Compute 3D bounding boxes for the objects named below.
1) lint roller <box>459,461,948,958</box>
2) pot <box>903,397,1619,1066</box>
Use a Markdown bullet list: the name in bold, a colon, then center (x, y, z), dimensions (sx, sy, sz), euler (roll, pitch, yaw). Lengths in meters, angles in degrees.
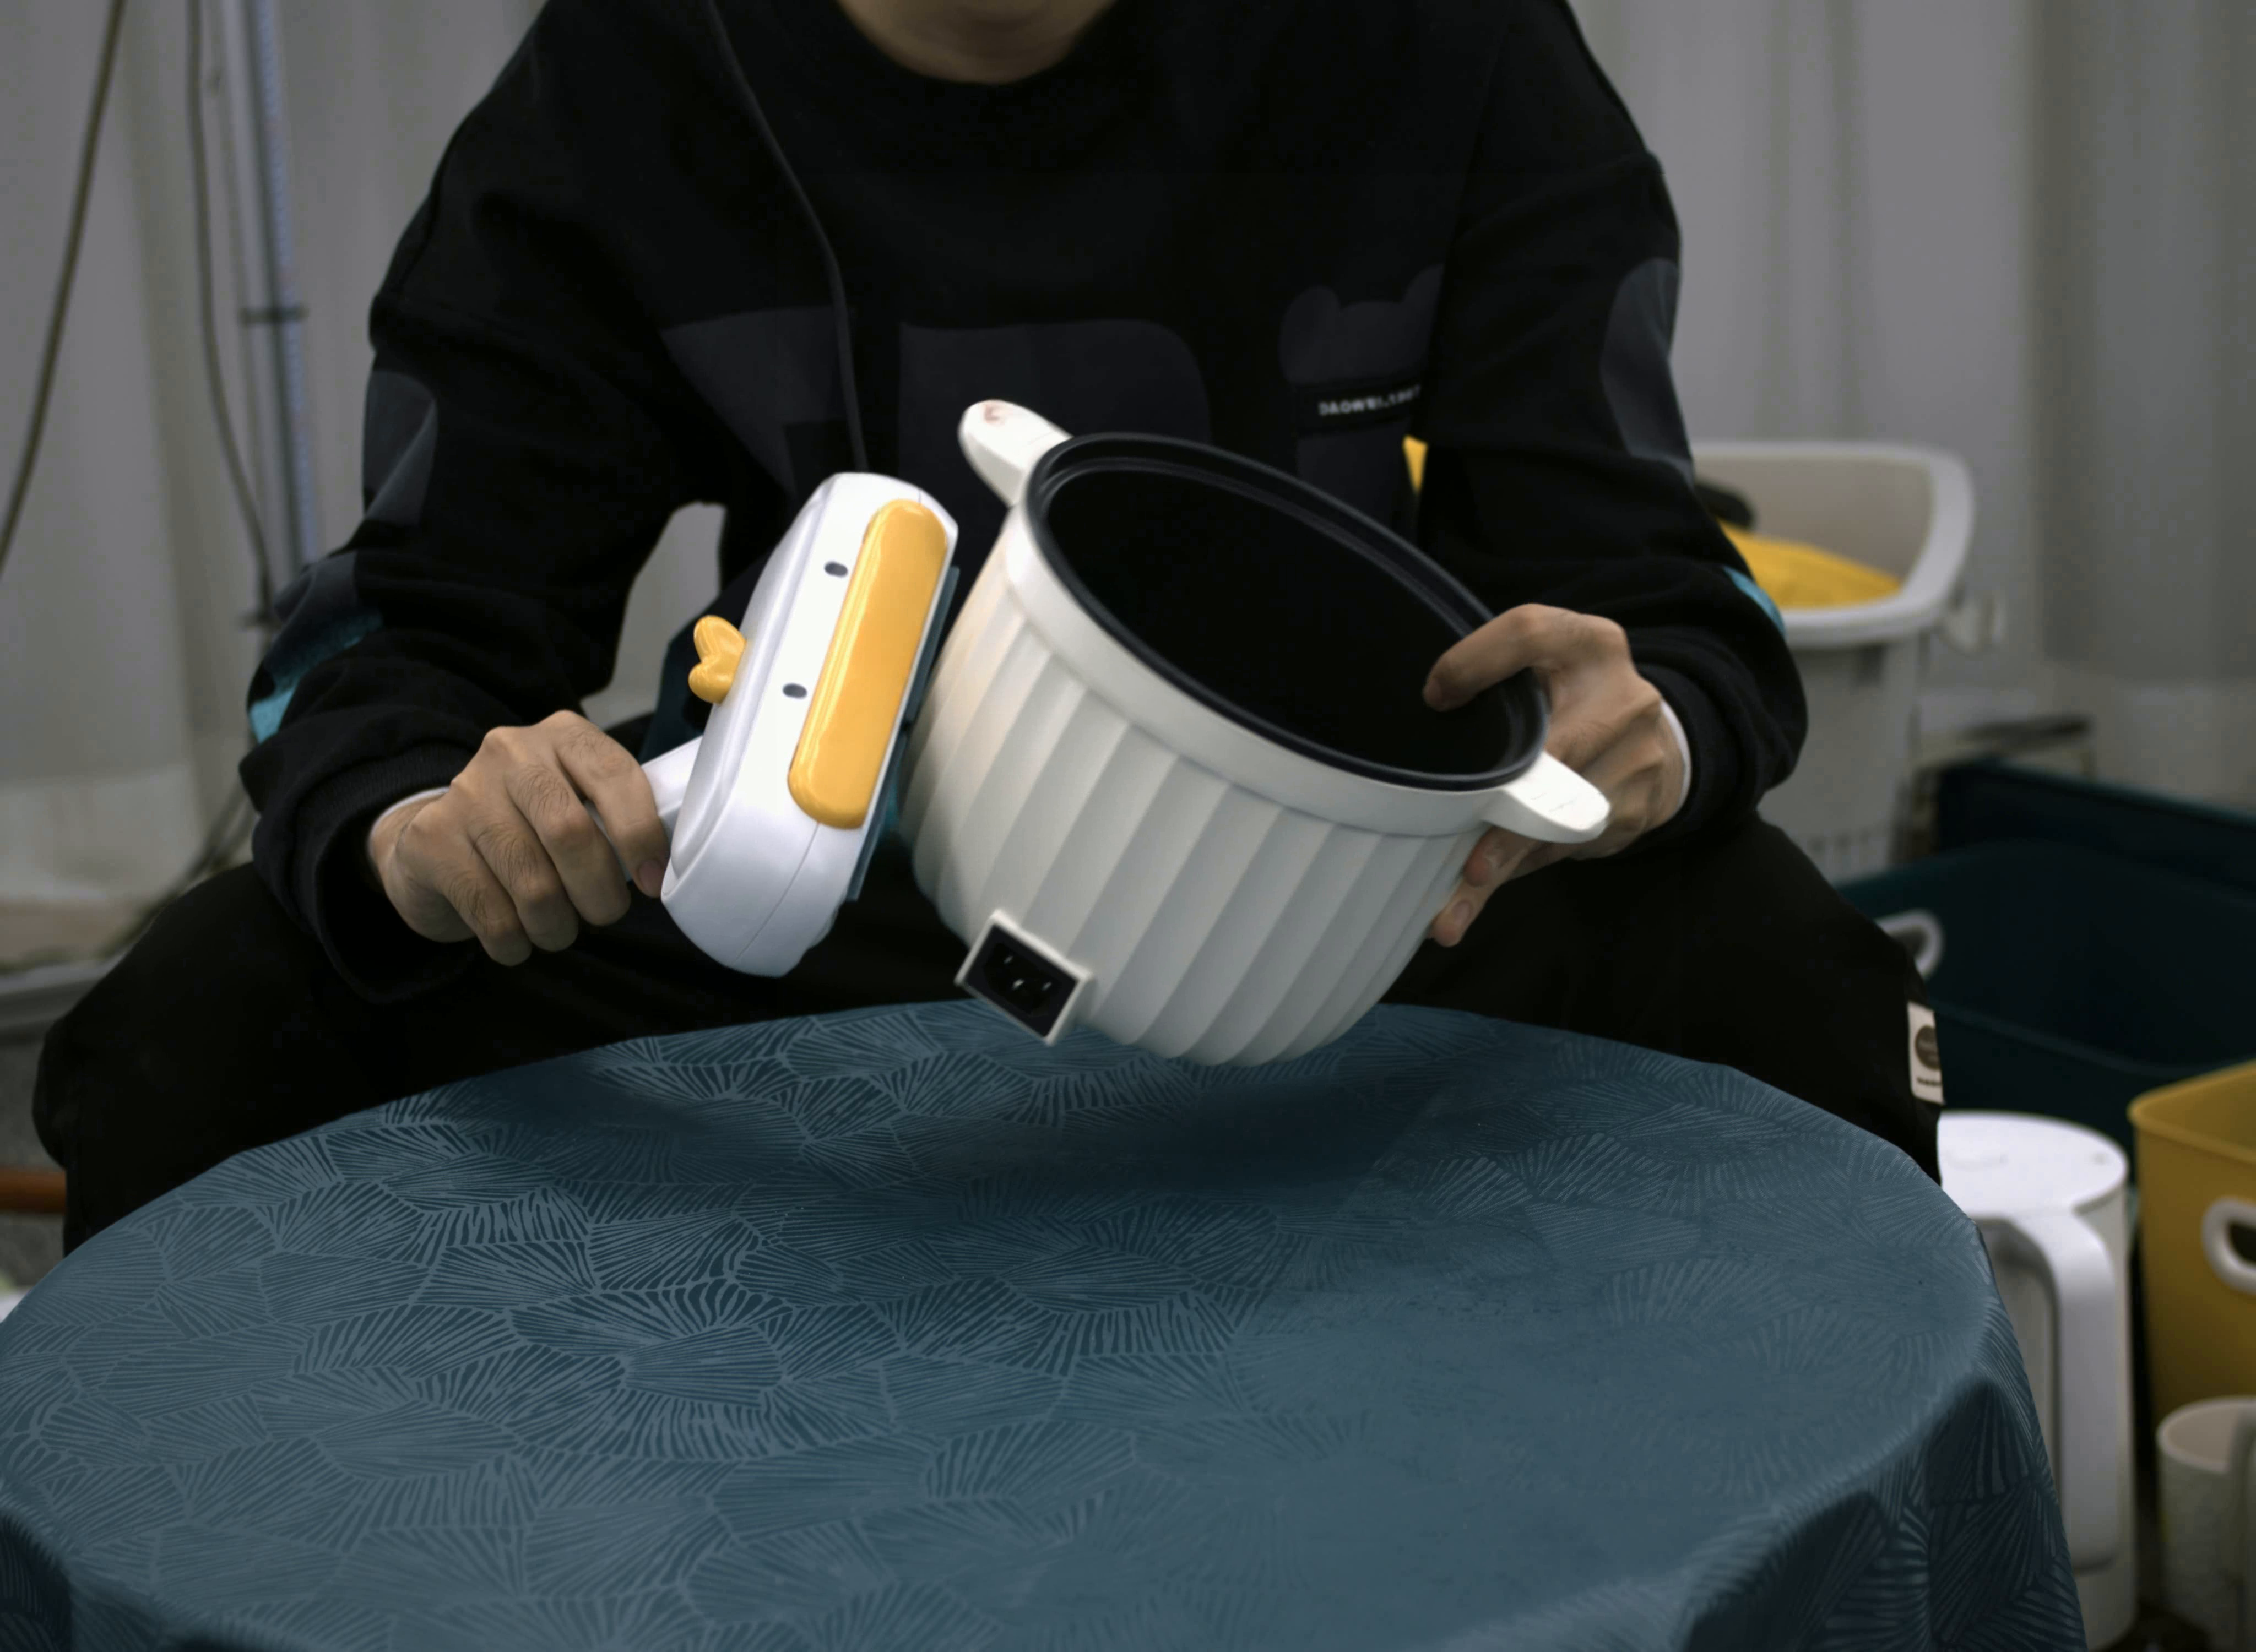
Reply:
- **lint roller**: center (-0.139, -0.011, 1.757), dimensions (0.073, 0.191, 0.196), euler (32, 38, -22)
- **pot**: center (0.025, -0.021, 1.729), dimensions (0.241, 0.141, 0.191), euler (35, 29, 9)
